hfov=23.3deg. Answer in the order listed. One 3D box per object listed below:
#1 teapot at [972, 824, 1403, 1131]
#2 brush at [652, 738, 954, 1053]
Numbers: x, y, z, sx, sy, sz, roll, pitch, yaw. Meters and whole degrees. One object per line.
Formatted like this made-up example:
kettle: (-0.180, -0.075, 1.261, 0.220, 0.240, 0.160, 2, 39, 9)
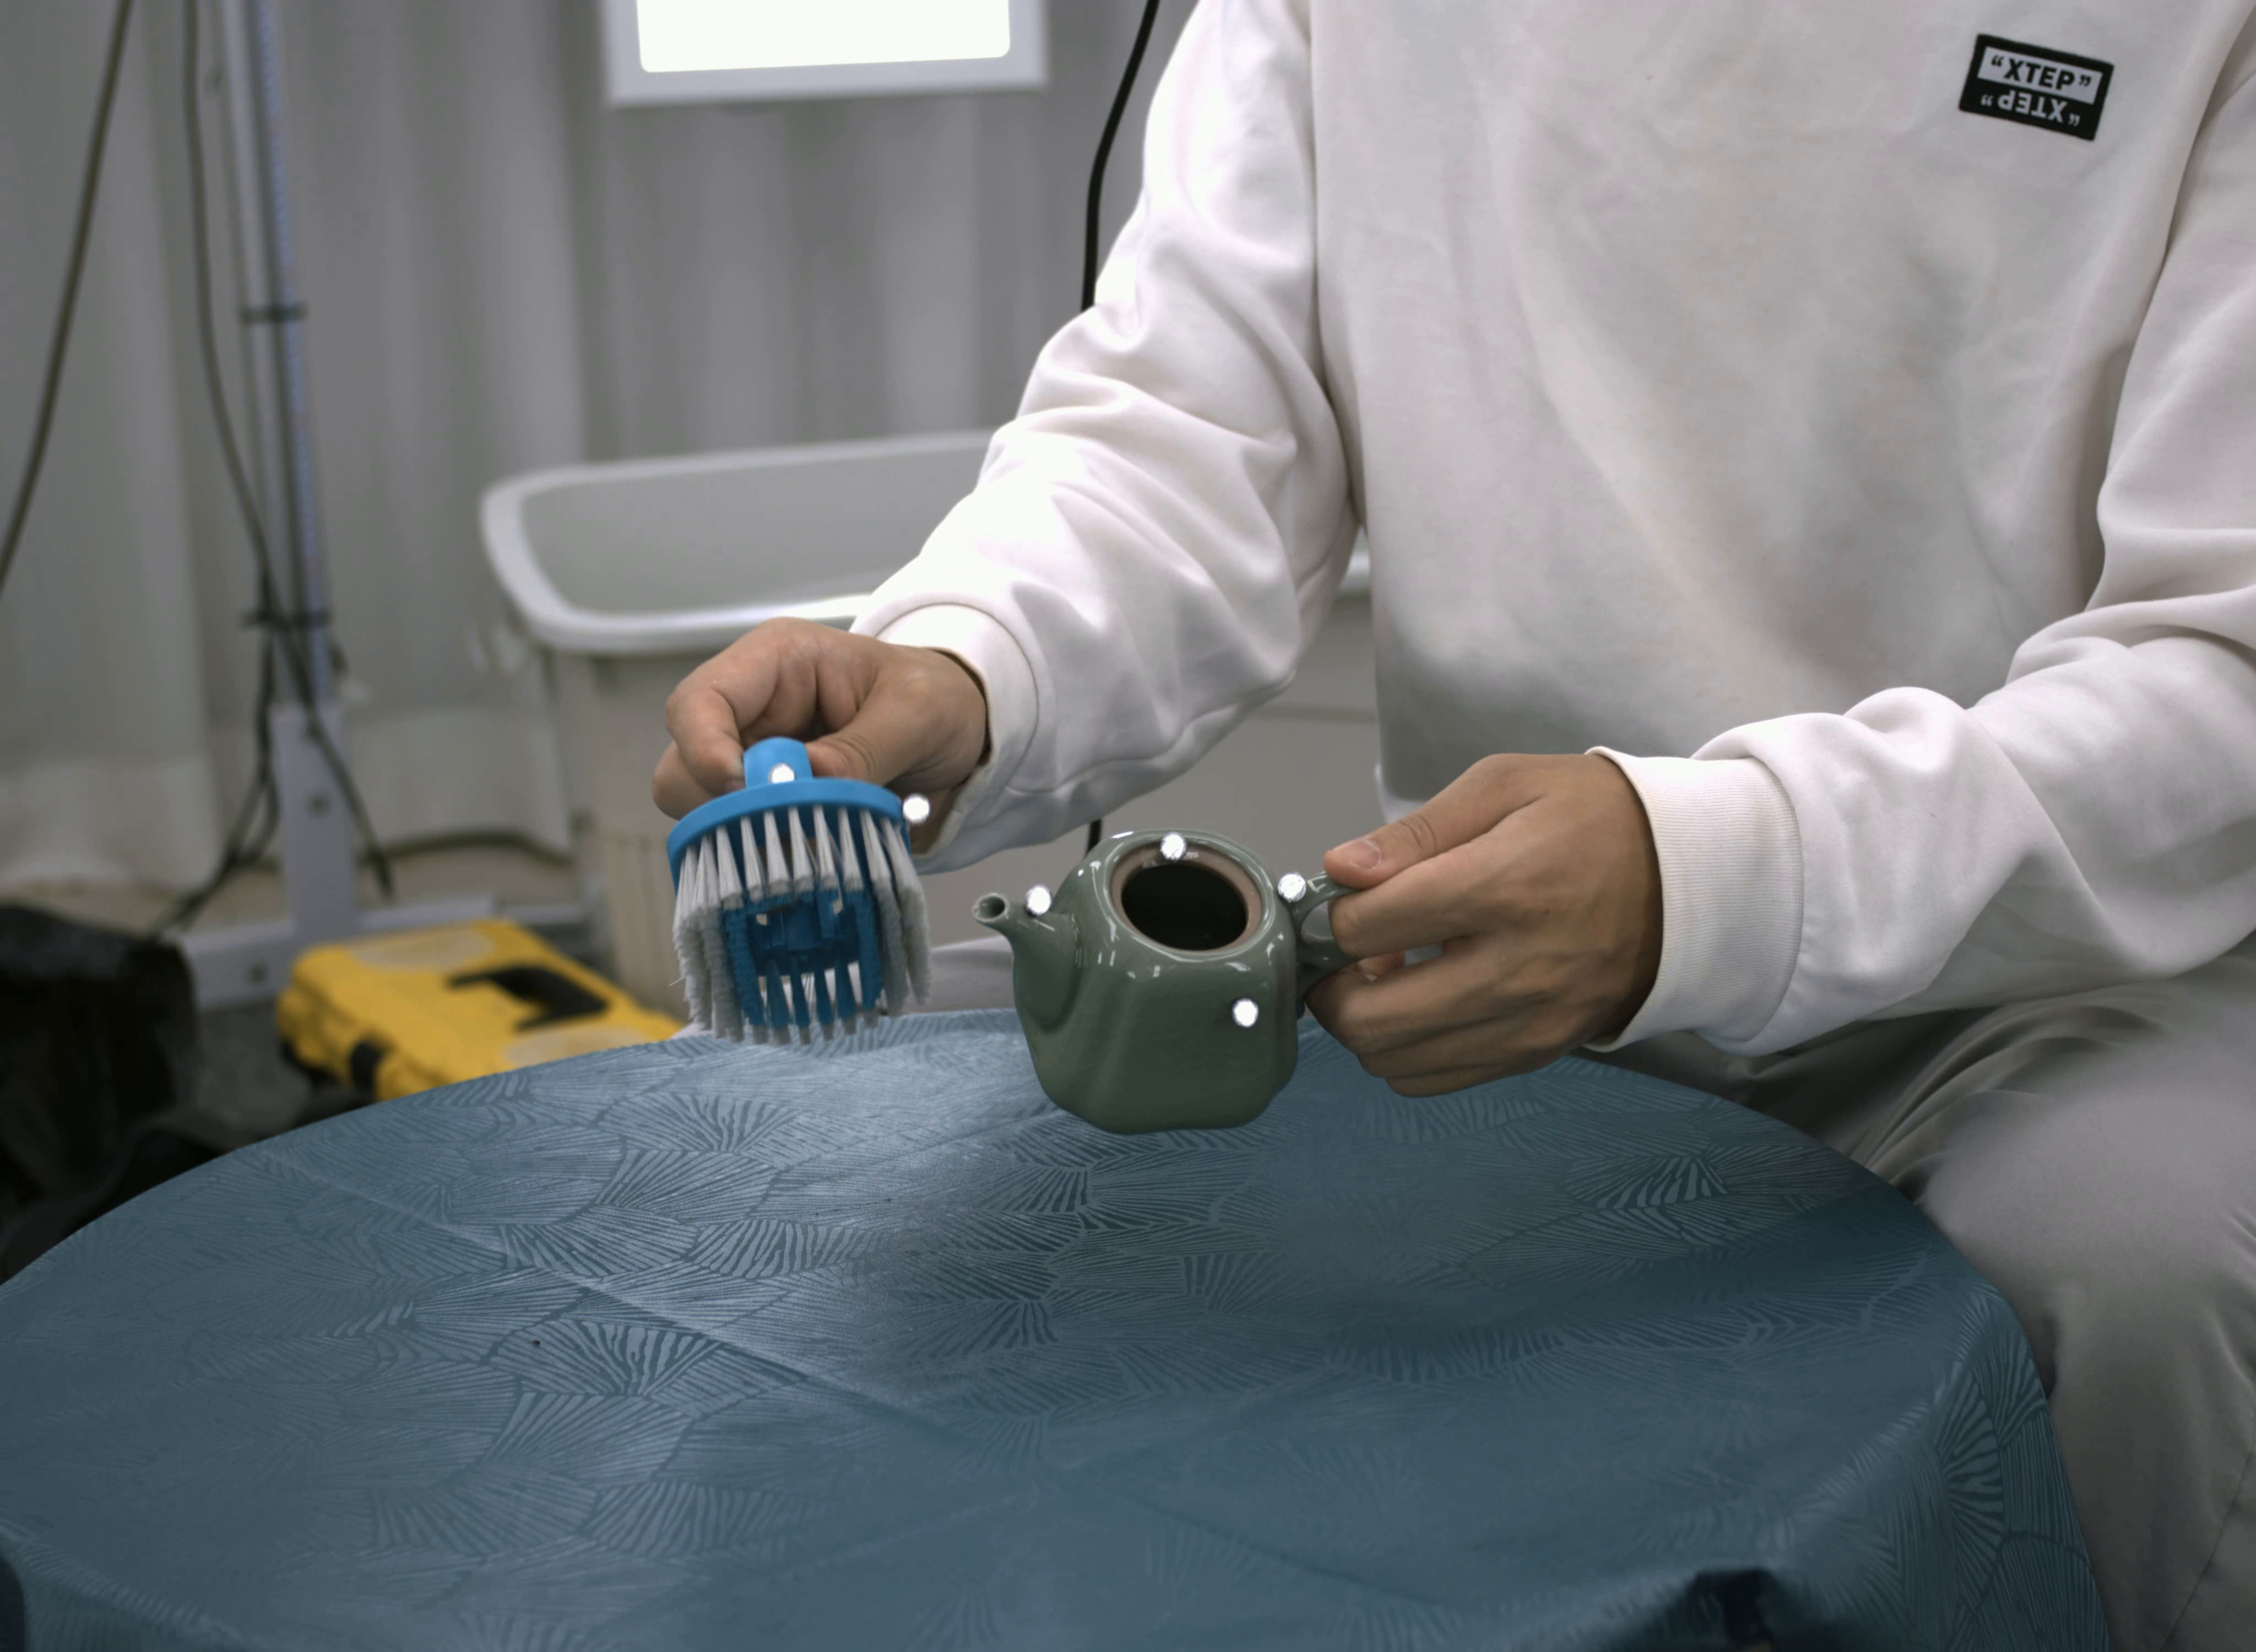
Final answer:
teapot: (0.013, 0.042, 1.607, 0.132, 0.074, 0.081, -2, 46, -17)
brush: (-0.101, 0.015, 1.662, 0.084, 0.064, 0.140, -13, -24, -3)
